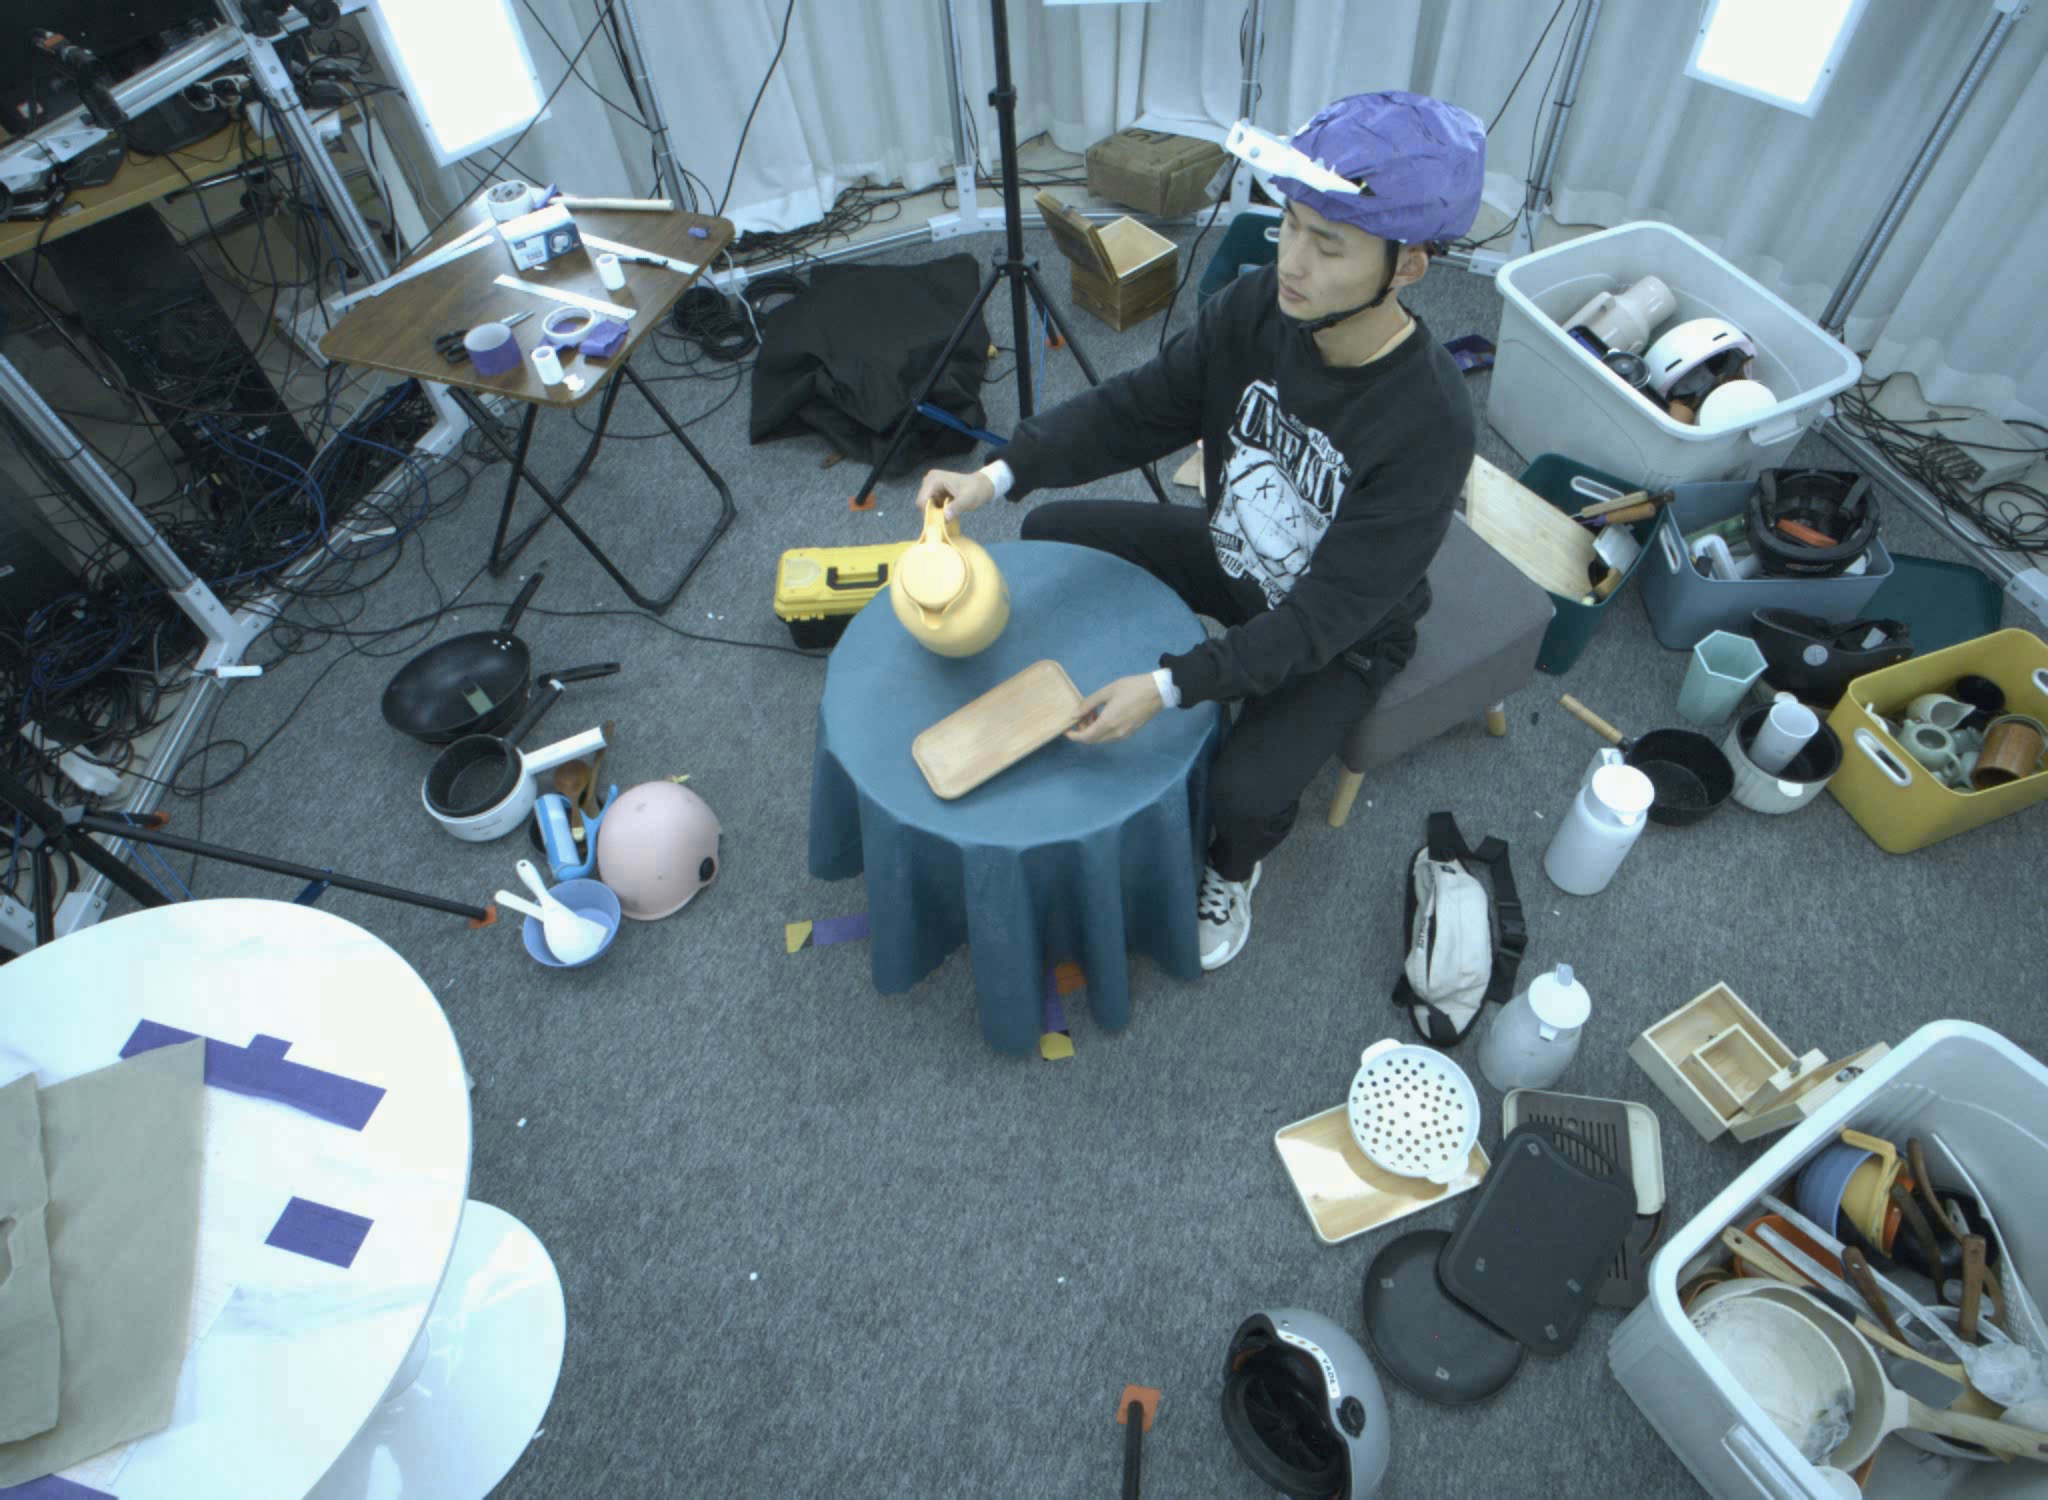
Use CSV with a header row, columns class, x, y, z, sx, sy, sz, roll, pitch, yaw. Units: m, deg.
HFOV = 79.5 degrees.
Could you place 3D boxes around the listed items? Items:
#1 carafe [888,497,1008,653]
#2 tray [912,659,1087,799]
class,x,y,z,sx,sy,sz,roll,pitch,yaw
carafe,-0.112,-0.252,1.766,0.163,0.261,0.202,4,89,3
tray,-0.036,-0.030,1.760,0.251,0.023,0.128,-30,59,-3
